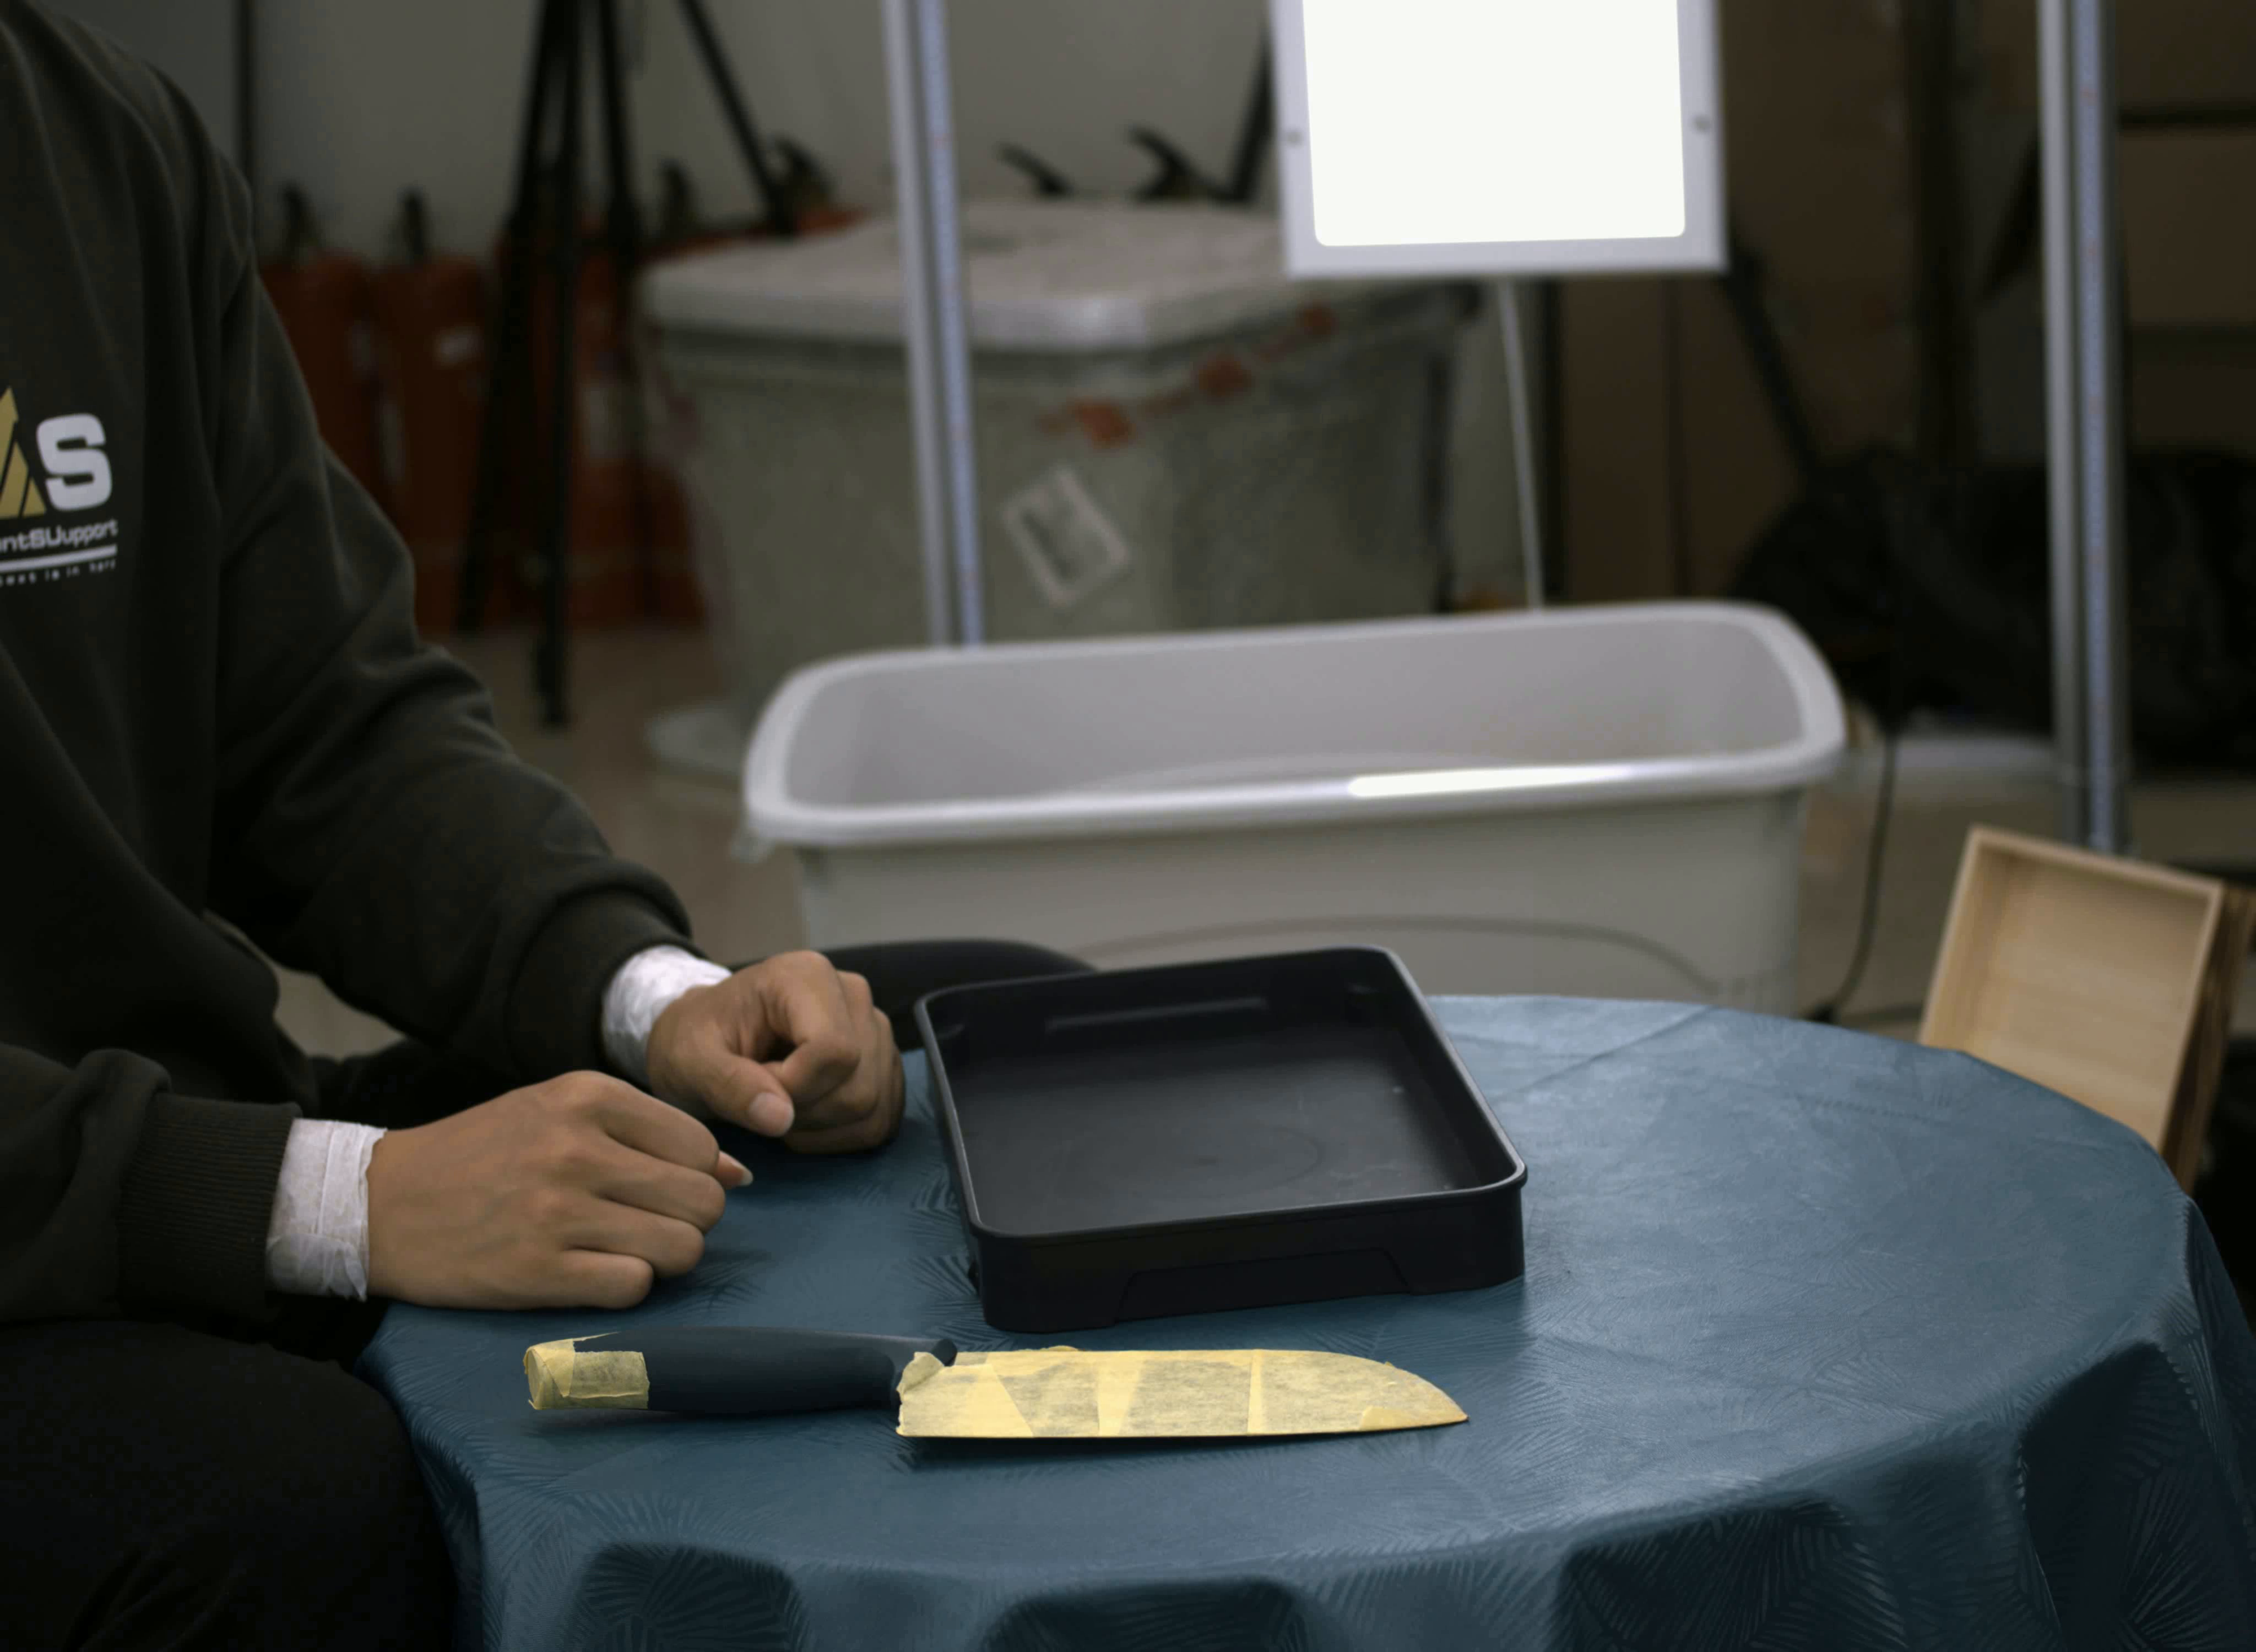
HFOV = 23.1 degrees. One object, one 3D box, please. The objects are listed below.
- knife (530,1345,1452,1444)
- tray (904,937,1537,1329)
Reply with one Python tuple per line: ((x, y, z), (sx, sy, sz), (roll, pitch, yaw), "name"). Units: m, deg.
((-0.044, 0.175, 1.688), (0.290, 0.027, 0.080), (-2, 12, 8), "knife")
((0.026, 0.102, 1.918), (0.183, 0.037, 0.319), (-7, 14, -5), "tray")
